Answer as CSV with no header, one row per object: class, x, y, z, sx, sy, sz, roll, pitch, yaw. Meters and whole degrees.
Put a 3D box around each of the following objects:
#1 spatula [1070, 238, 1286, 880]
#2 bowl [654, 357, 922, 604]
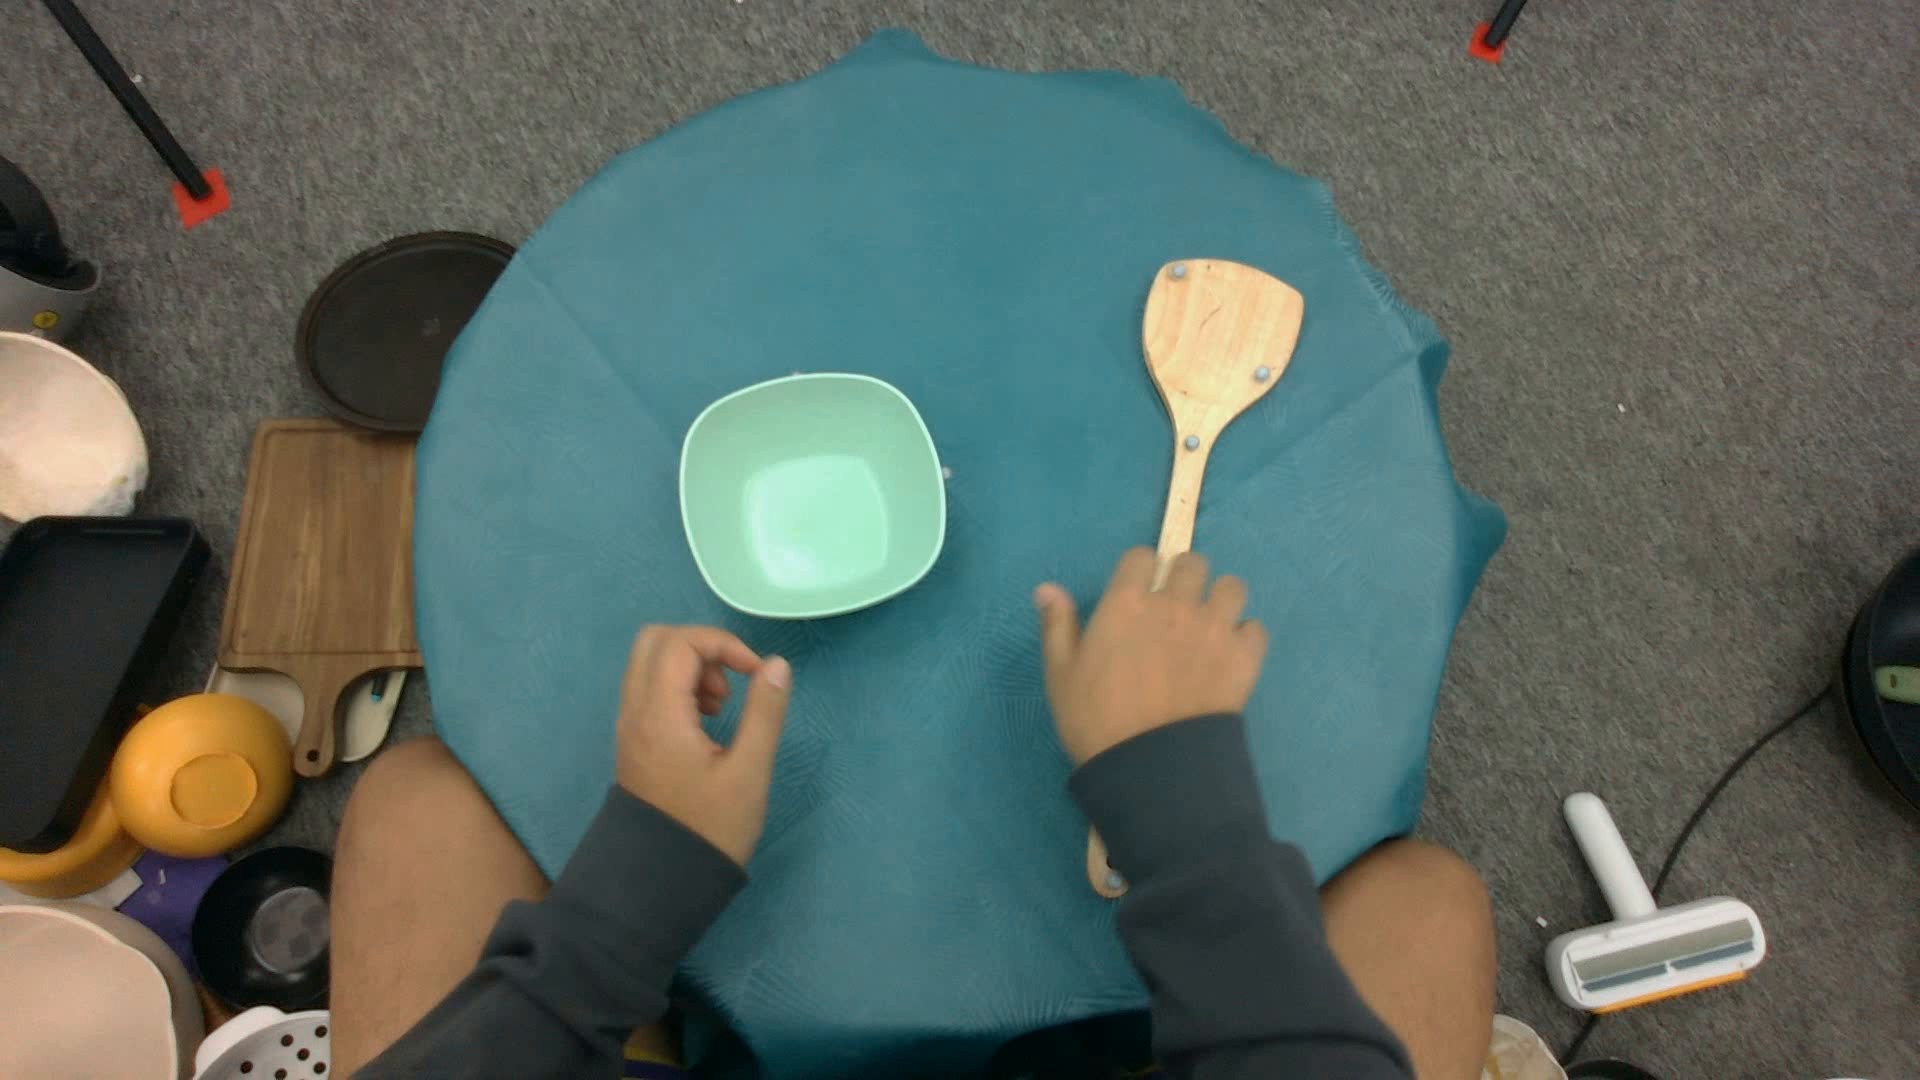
spatula,0.114,-0.002,0.782,0.096,0.018,0.392,13,69,1
bowl,-0.092,-0.025,0.750,0.151,0.058,0.152,2,69,-4
